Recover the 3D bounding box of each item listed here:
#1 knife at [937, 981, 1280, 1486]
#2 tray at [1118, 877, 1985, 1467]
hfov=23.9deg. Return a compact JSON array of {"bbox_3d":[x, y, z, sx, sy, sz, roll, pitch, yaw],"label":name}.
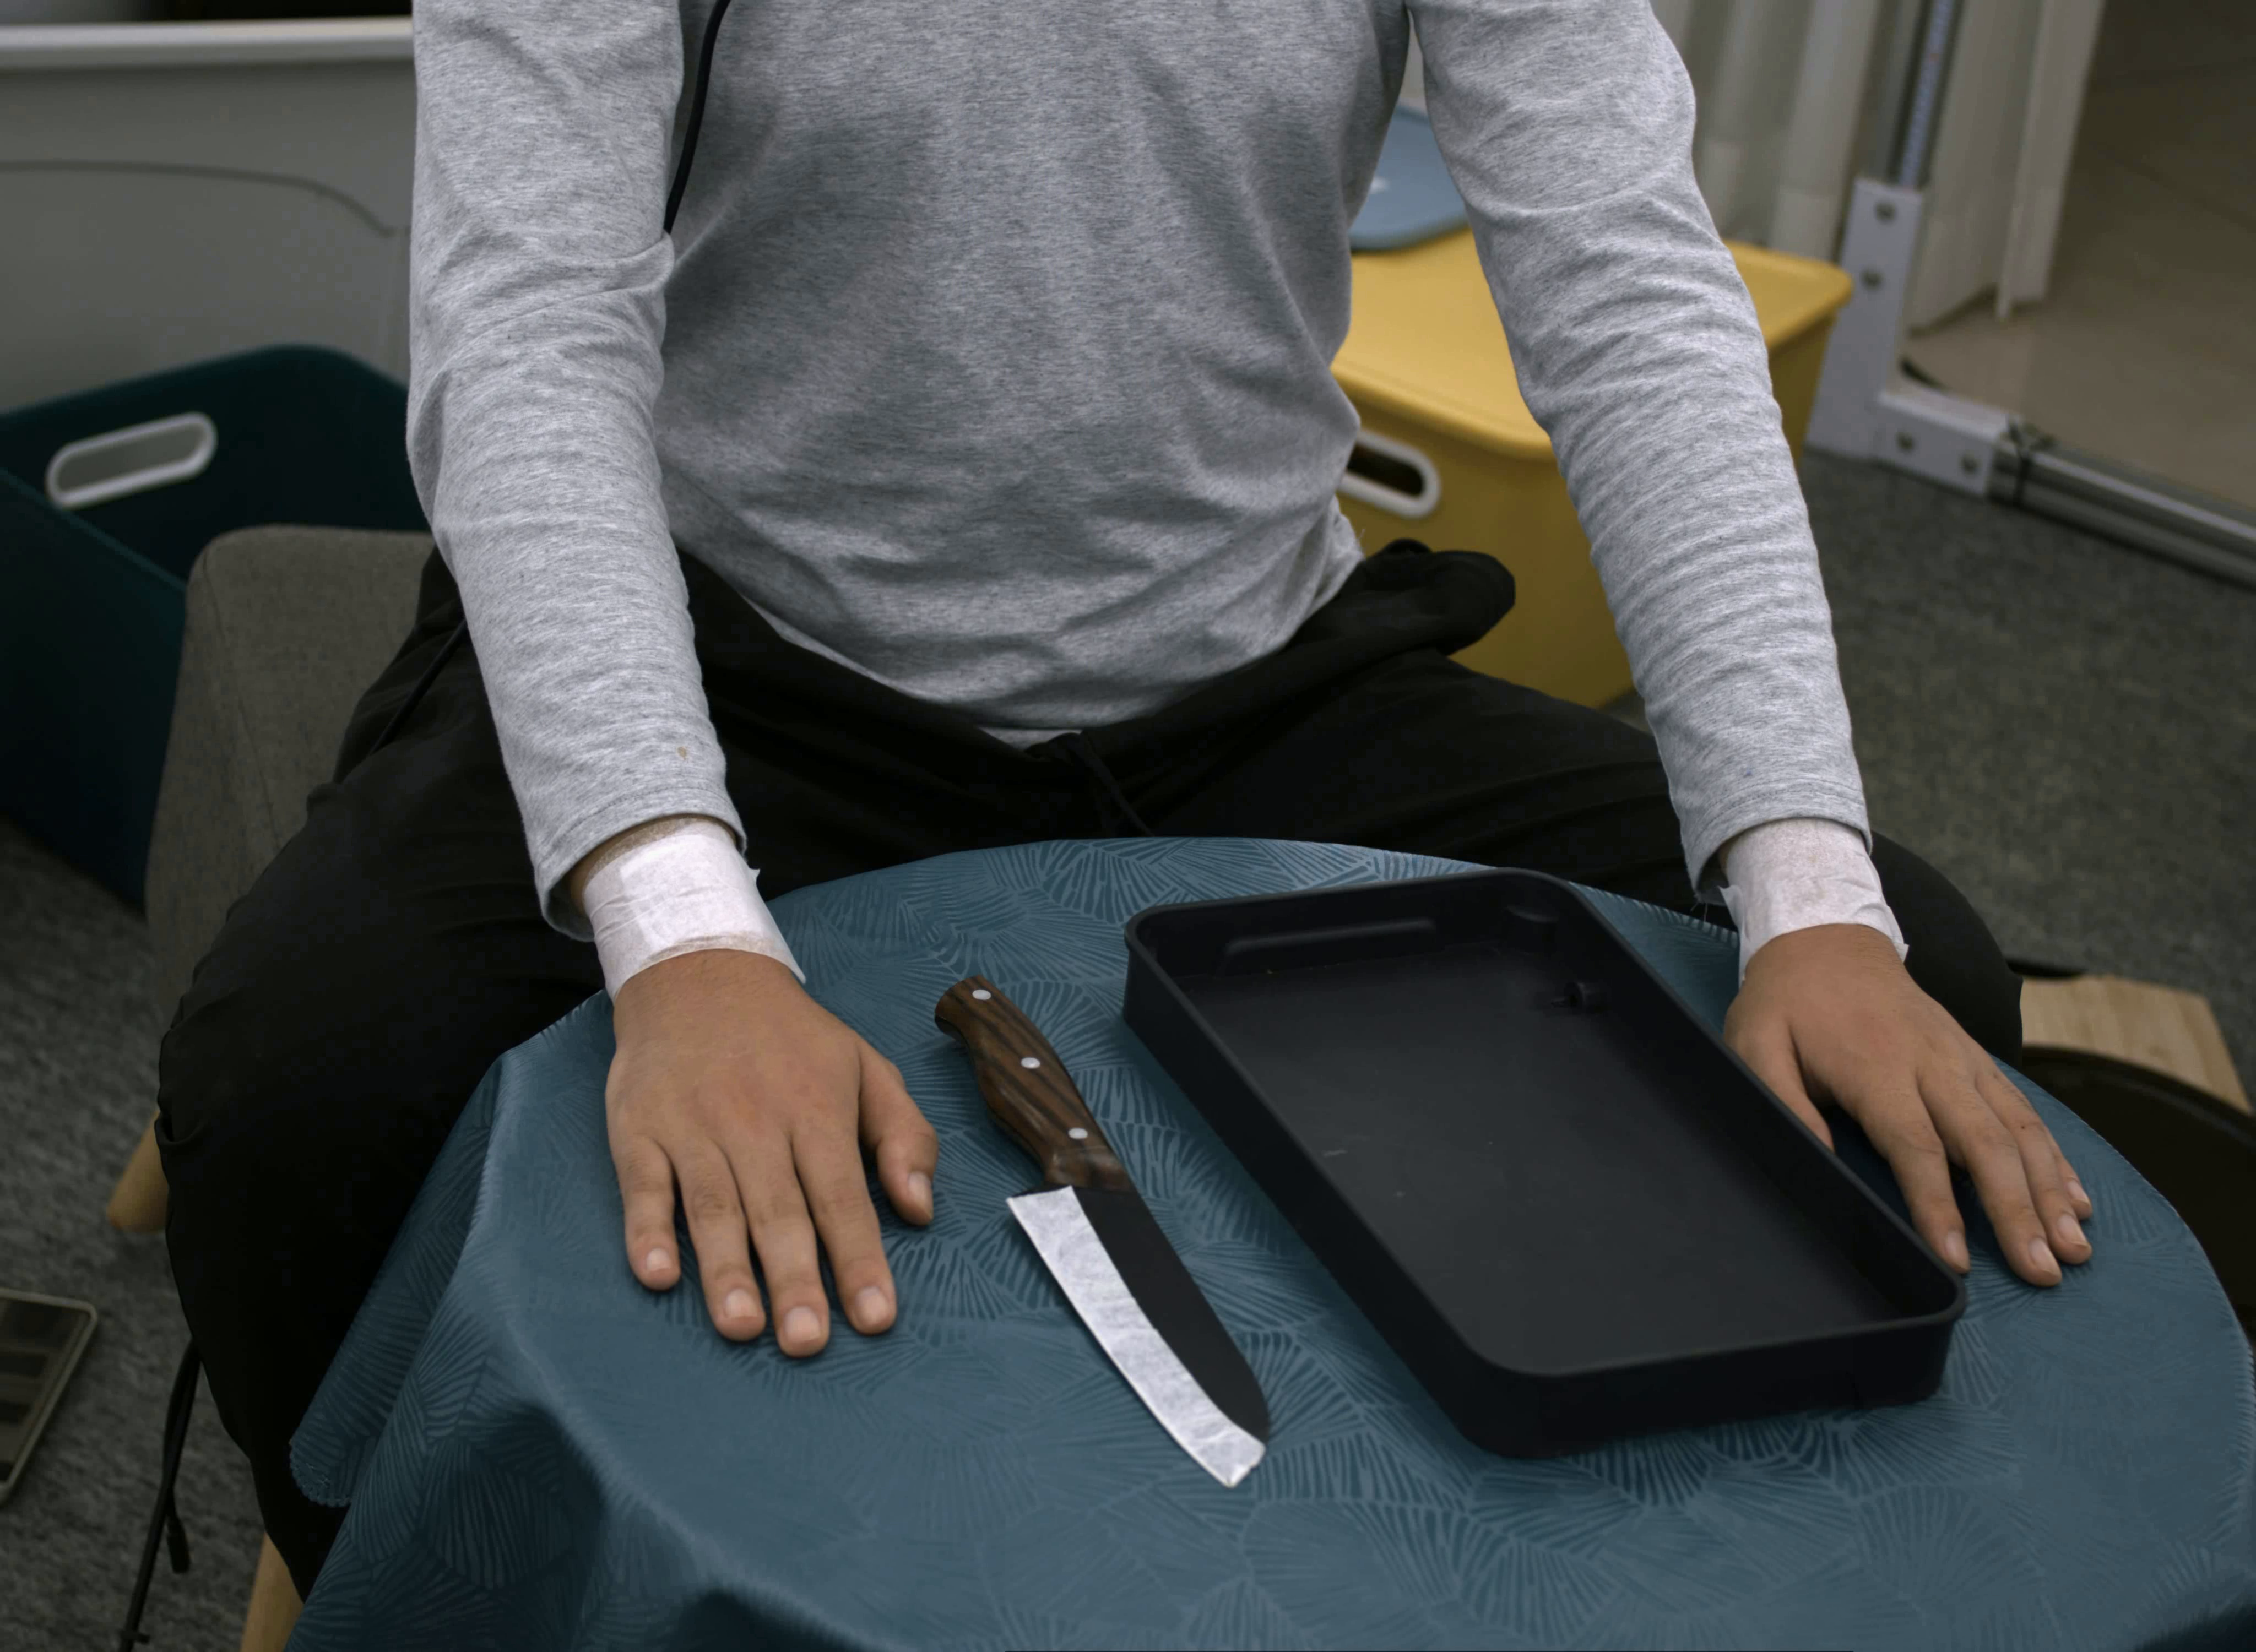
[{"bbox_3d":[-0.010,0.133,1.769,0.050,0.020,0.292,-8,32,-17],"label":"knife"},{"bbox_3d":[0.137,0.111,1.822,0.183,0.037,0.321,-7,29,-25],"label":"tray"}]
